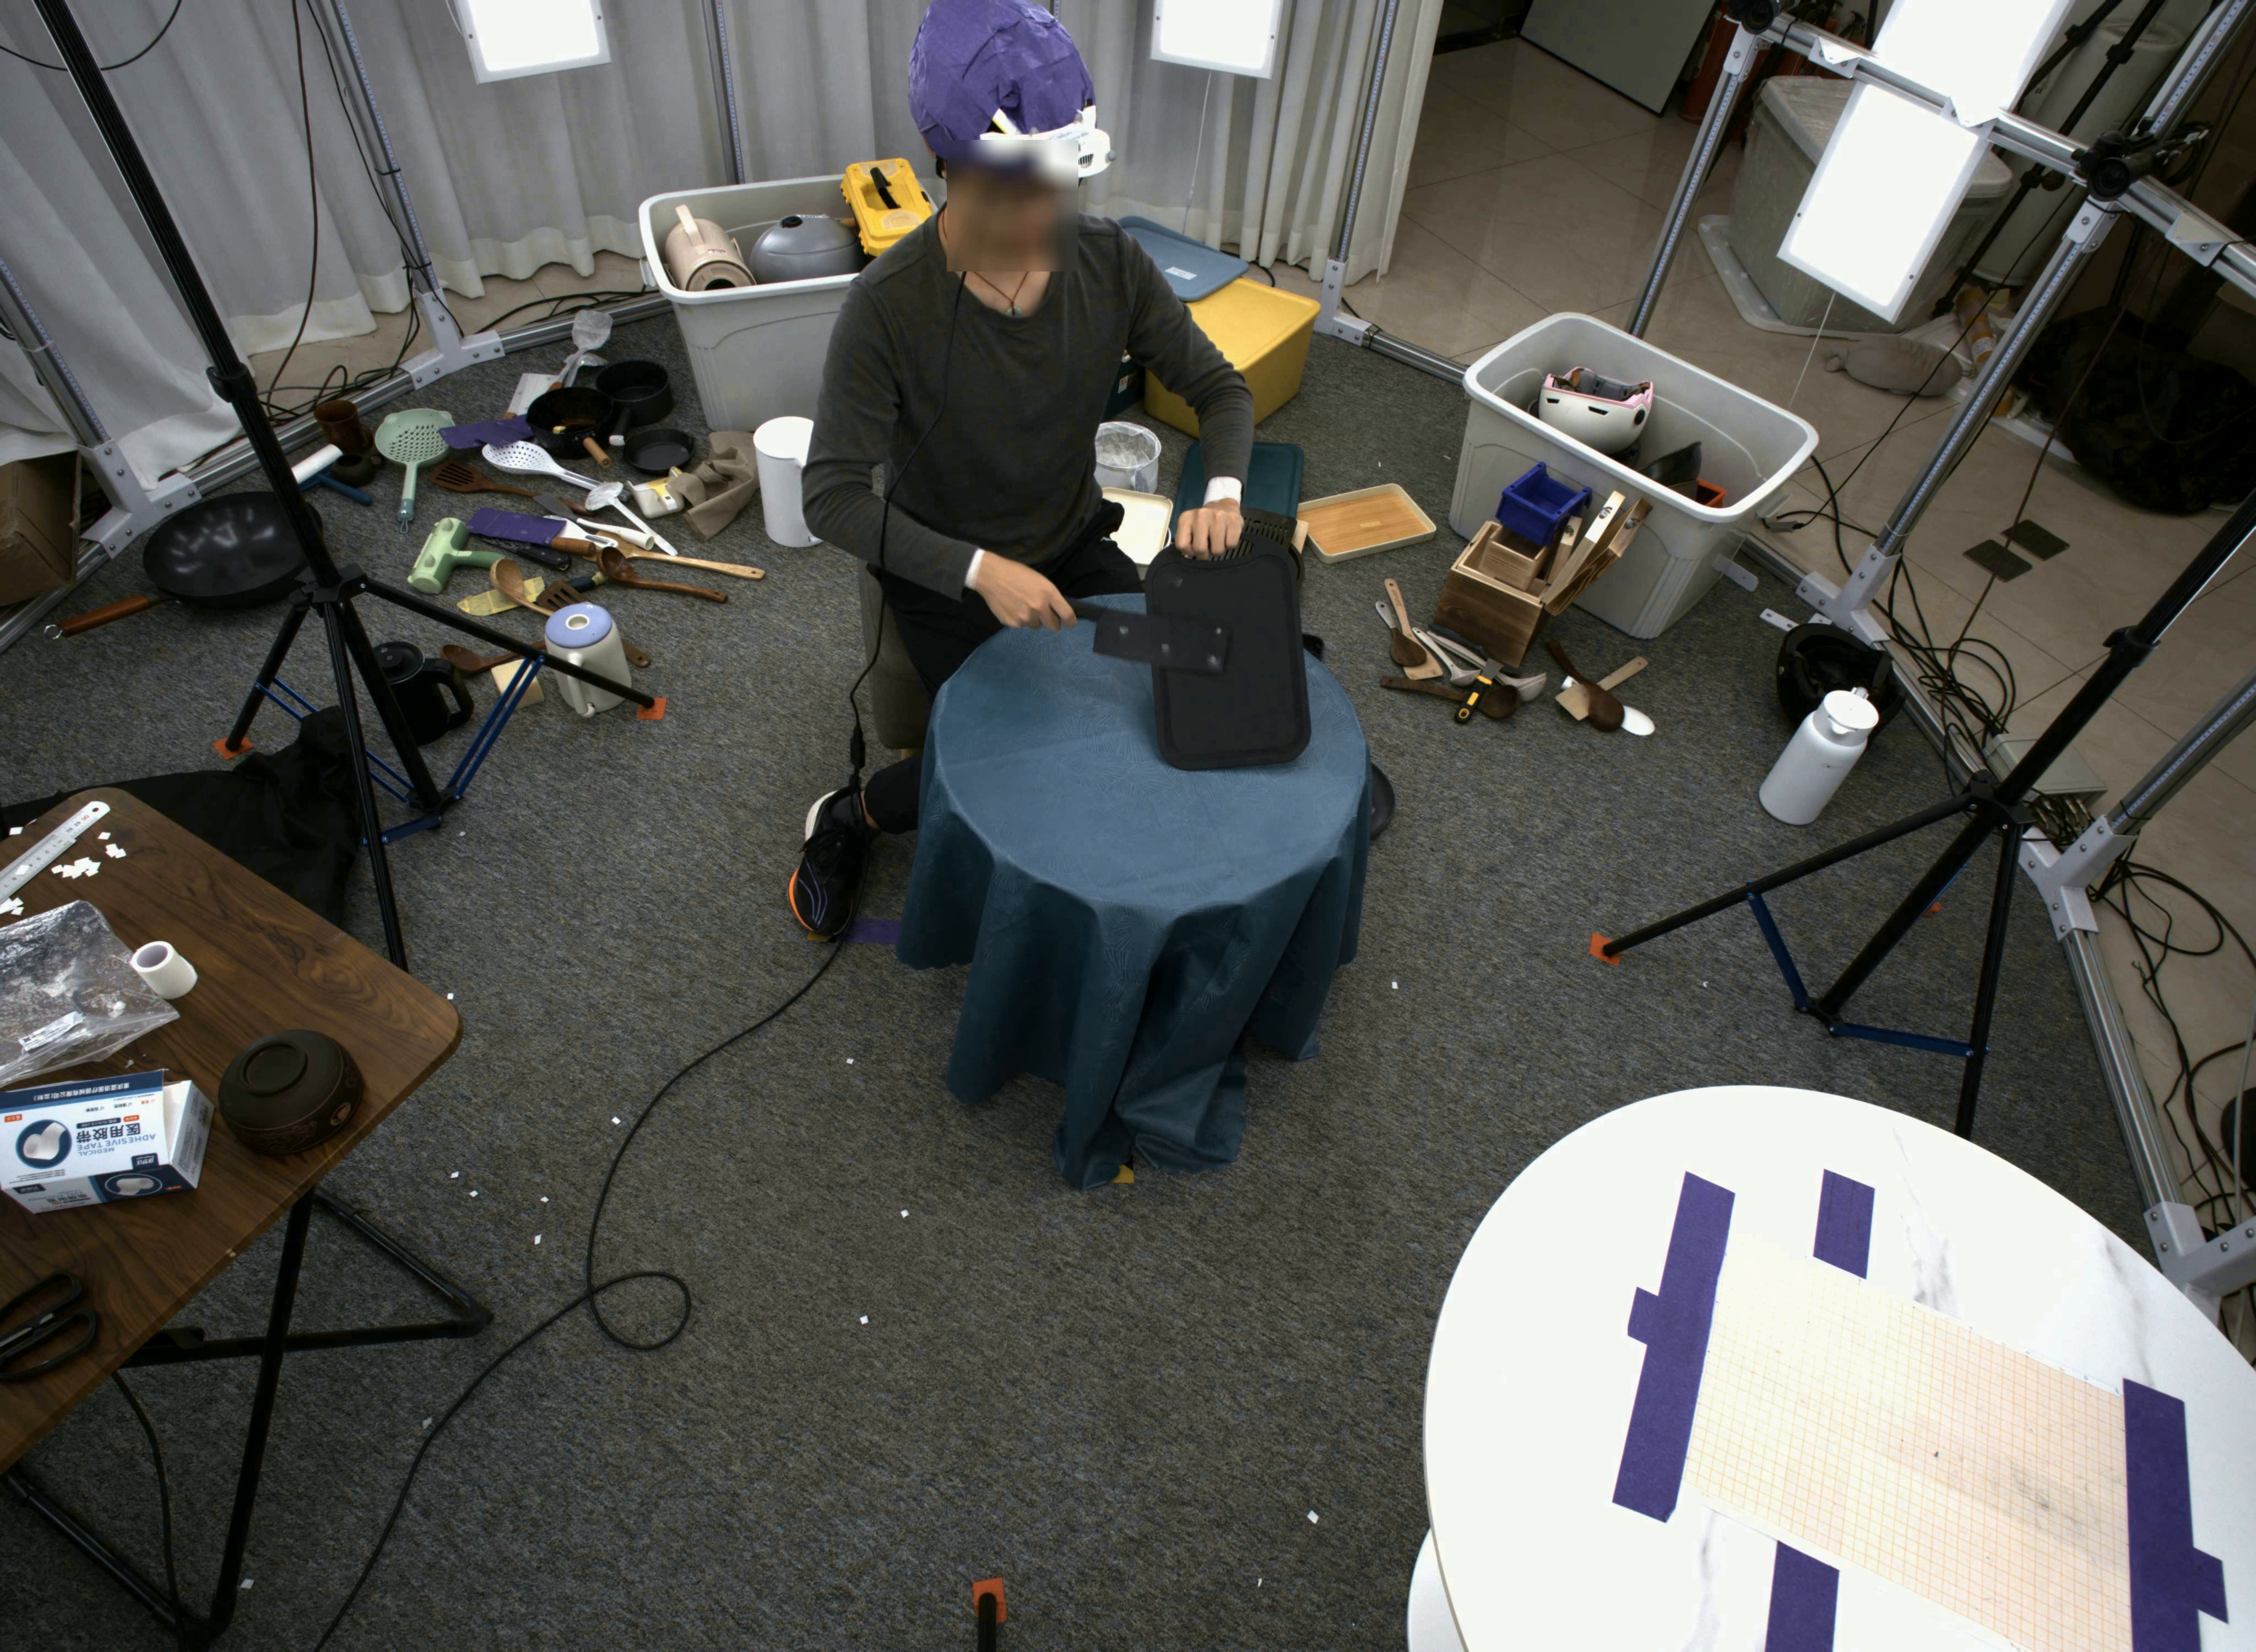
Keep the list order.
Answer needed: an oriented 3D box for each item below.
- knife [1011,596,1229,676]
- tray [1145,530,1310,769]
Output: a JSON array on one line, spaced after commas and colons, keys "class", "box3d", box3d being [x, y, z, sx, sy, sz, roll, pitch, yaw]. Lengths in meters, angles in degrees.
[{"class": "knife", "box3d": [-0.013, -0.261, 1.750, 0.303, 0.080, 0.021, 15, 11, 6]}, {"class": "tray", "box3d": [0.134, -0.243, 1.752, 0.211, 0.010, 0.327, -4, 85, 0]}]
